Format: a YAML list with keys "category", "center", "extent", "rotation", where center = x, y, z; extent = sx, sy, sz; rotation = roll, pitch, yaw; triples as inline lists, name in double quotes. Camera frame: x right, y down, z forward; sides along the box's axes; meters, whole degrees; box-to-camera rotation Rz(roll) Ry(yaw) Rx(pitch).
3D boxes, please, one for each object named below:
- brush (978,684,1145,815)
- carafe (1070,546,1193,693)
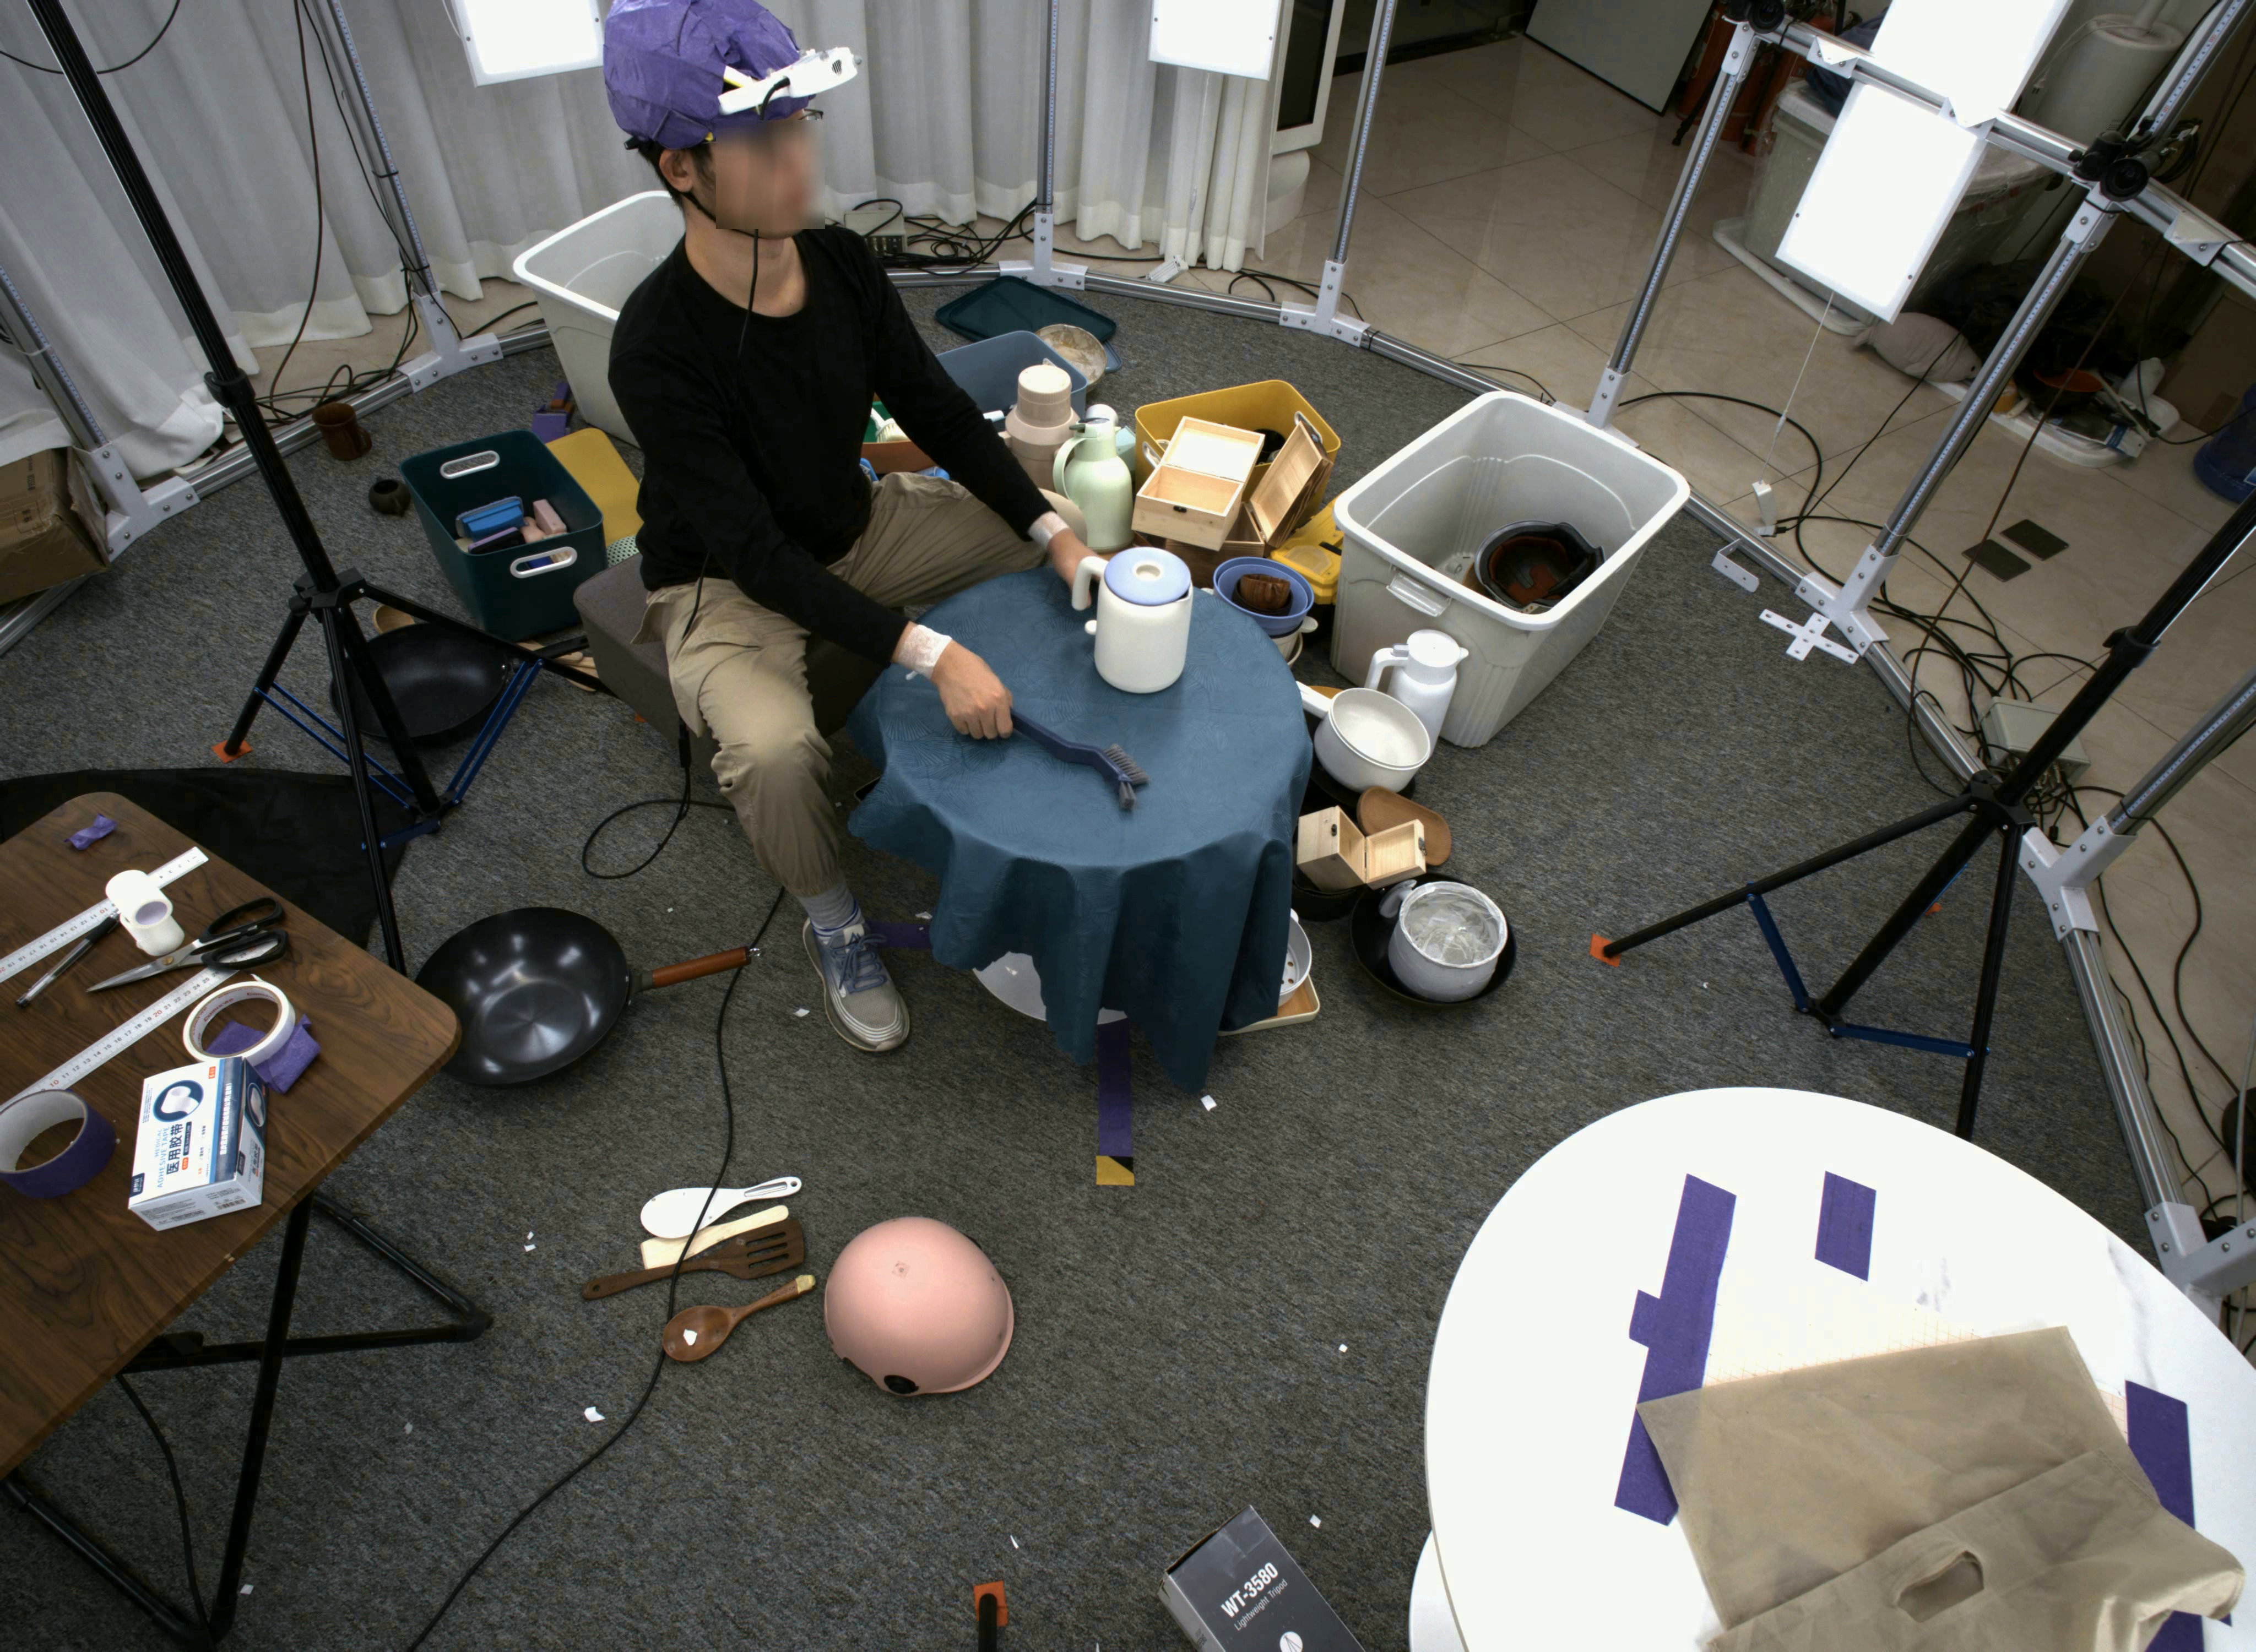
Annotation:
- category: "brush"
  center: [-0.102, -0.109, 1.733]
  extent: [0.275, 0.033, 0.097]
  rotation: [26, 52, 14]
- category: "carafe"
  center: [0.001, -0.301, 1.820]
  extent: [0.193, 0.178, 0.134]
  rotation: [27, 52, 19]
